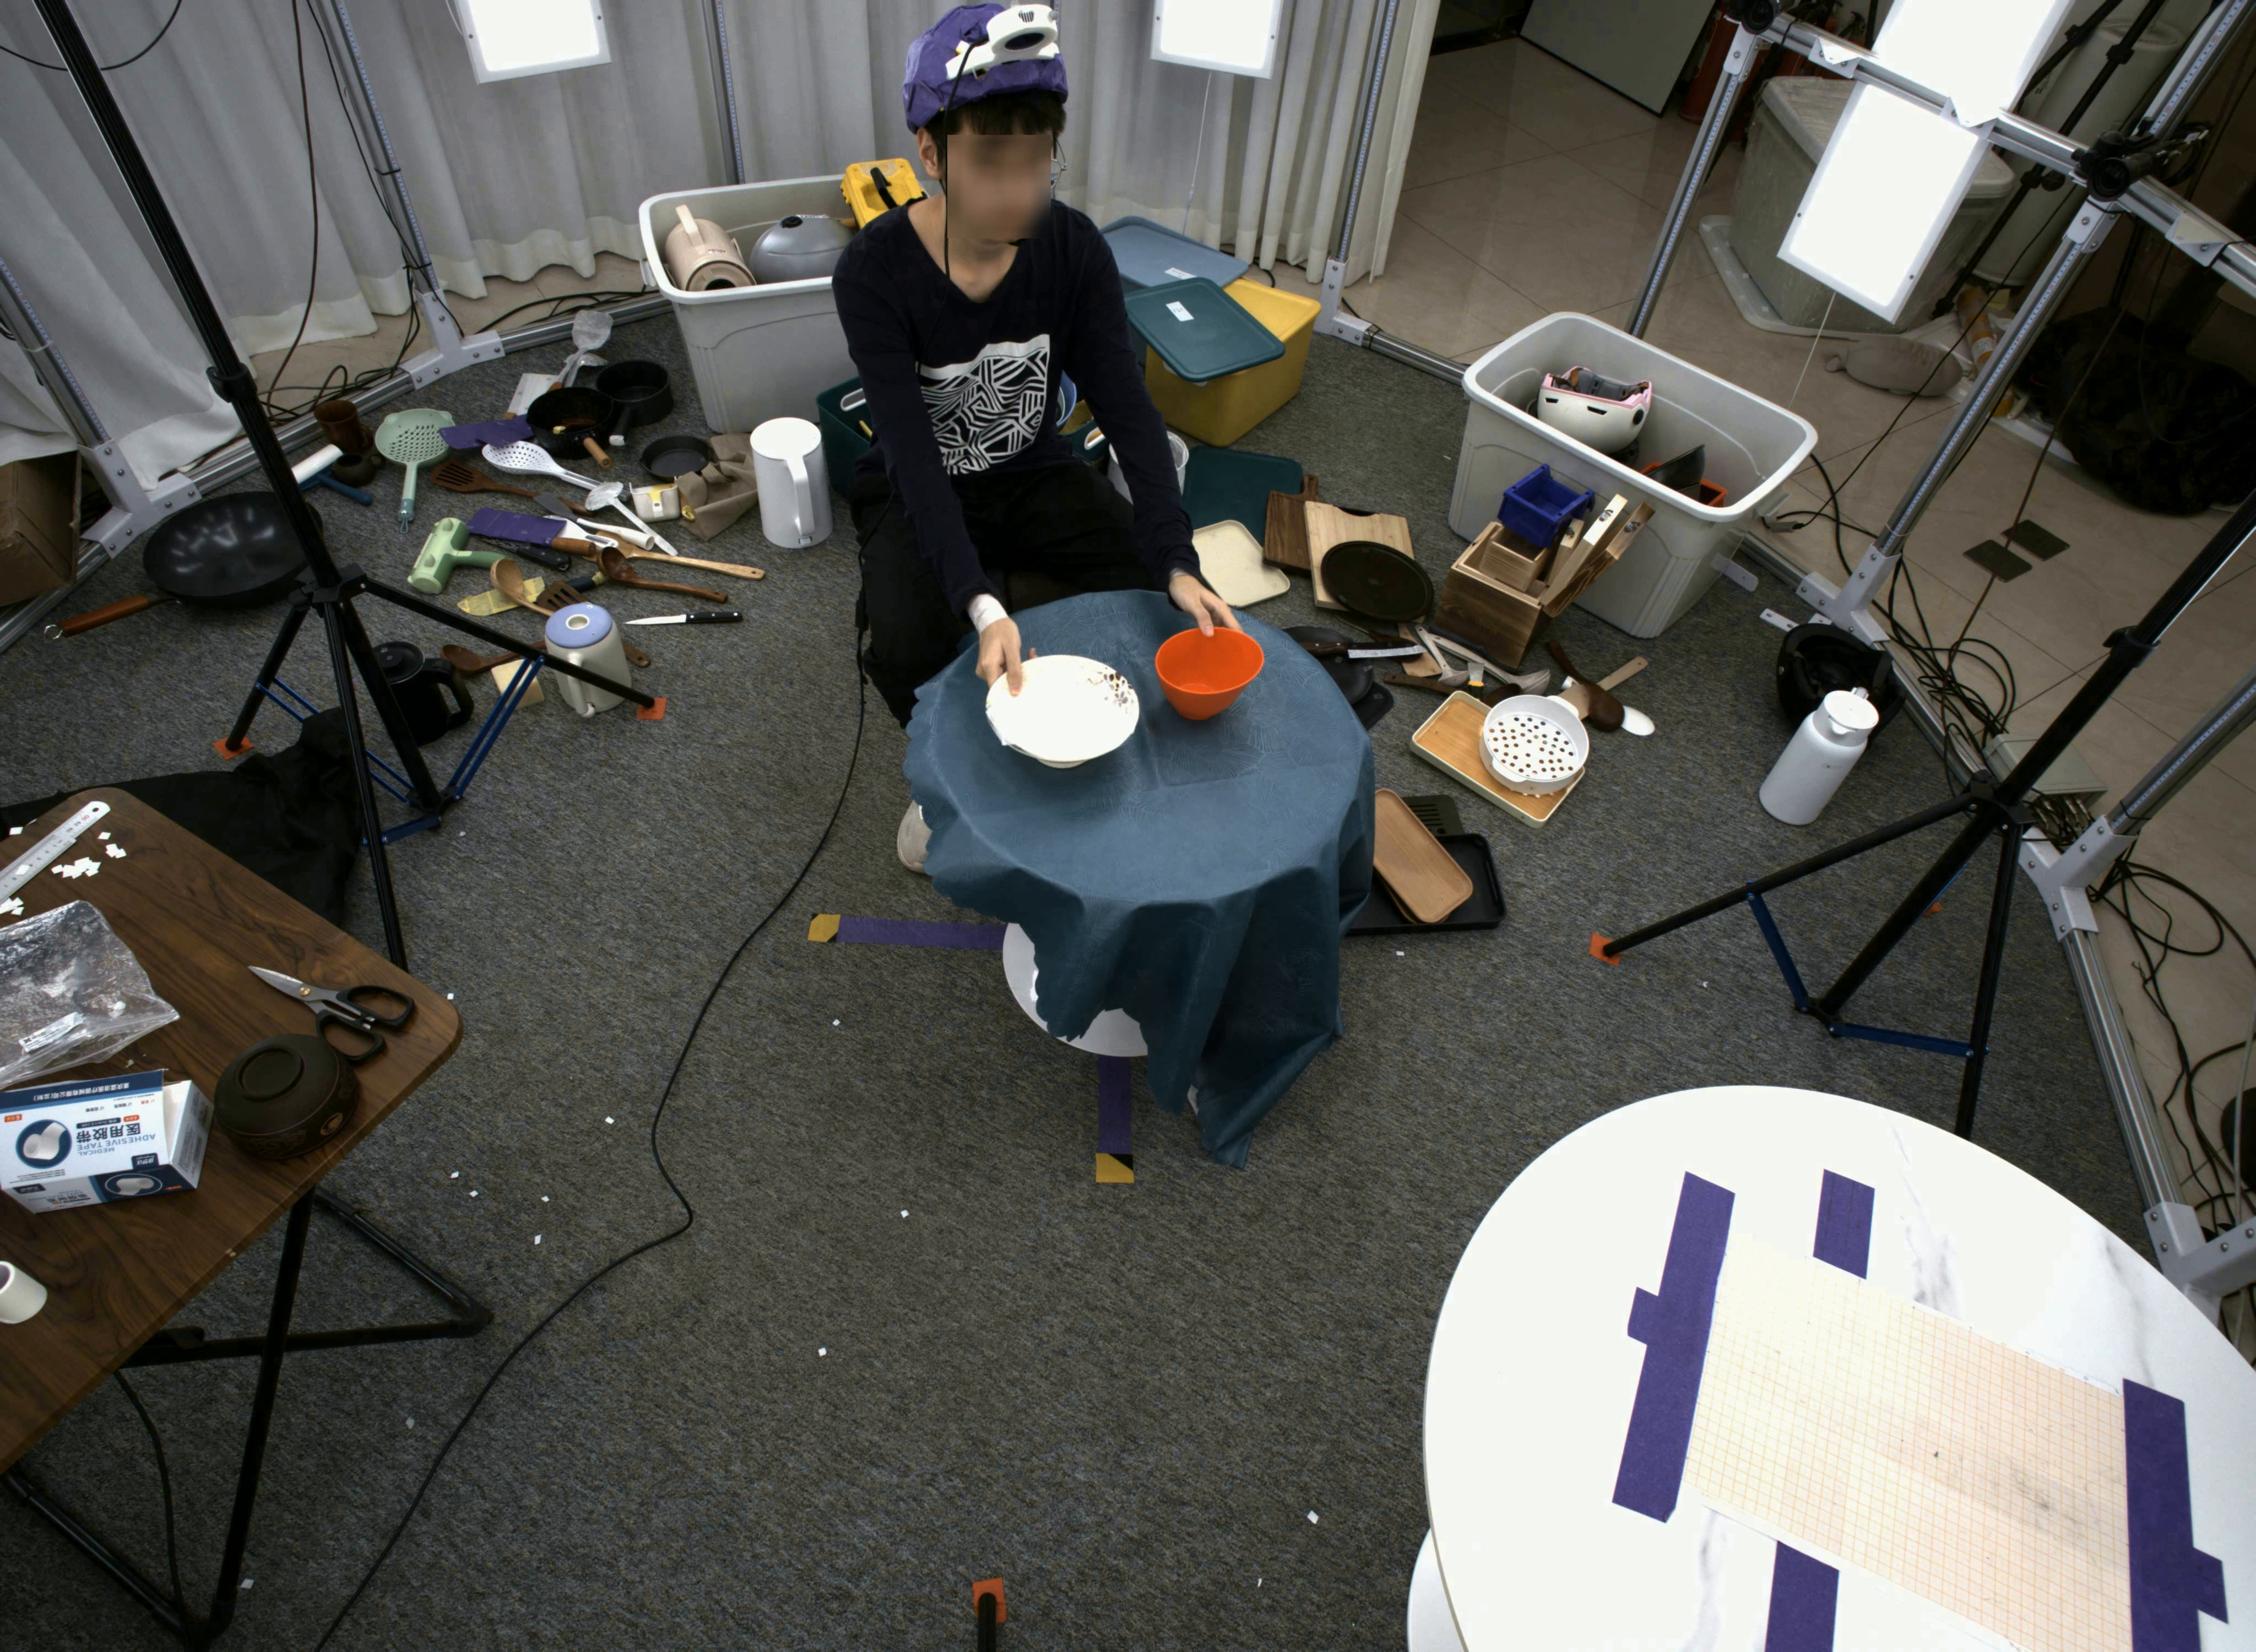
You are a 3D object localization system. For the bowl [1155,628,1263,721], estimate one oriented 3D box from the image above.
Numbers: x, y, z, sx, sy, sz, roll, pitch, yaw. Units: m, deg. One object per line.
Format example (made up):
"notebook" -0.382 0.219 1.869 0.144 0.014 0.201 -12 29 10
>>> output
"bowl" 0.108 -0.201 1.784 0.148 0.102 0.152 1 48 -1

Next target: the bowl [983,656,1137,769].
"bowl" -0.092 -0.134 1.727 0.204 0.076 0.209 1 48 -2
